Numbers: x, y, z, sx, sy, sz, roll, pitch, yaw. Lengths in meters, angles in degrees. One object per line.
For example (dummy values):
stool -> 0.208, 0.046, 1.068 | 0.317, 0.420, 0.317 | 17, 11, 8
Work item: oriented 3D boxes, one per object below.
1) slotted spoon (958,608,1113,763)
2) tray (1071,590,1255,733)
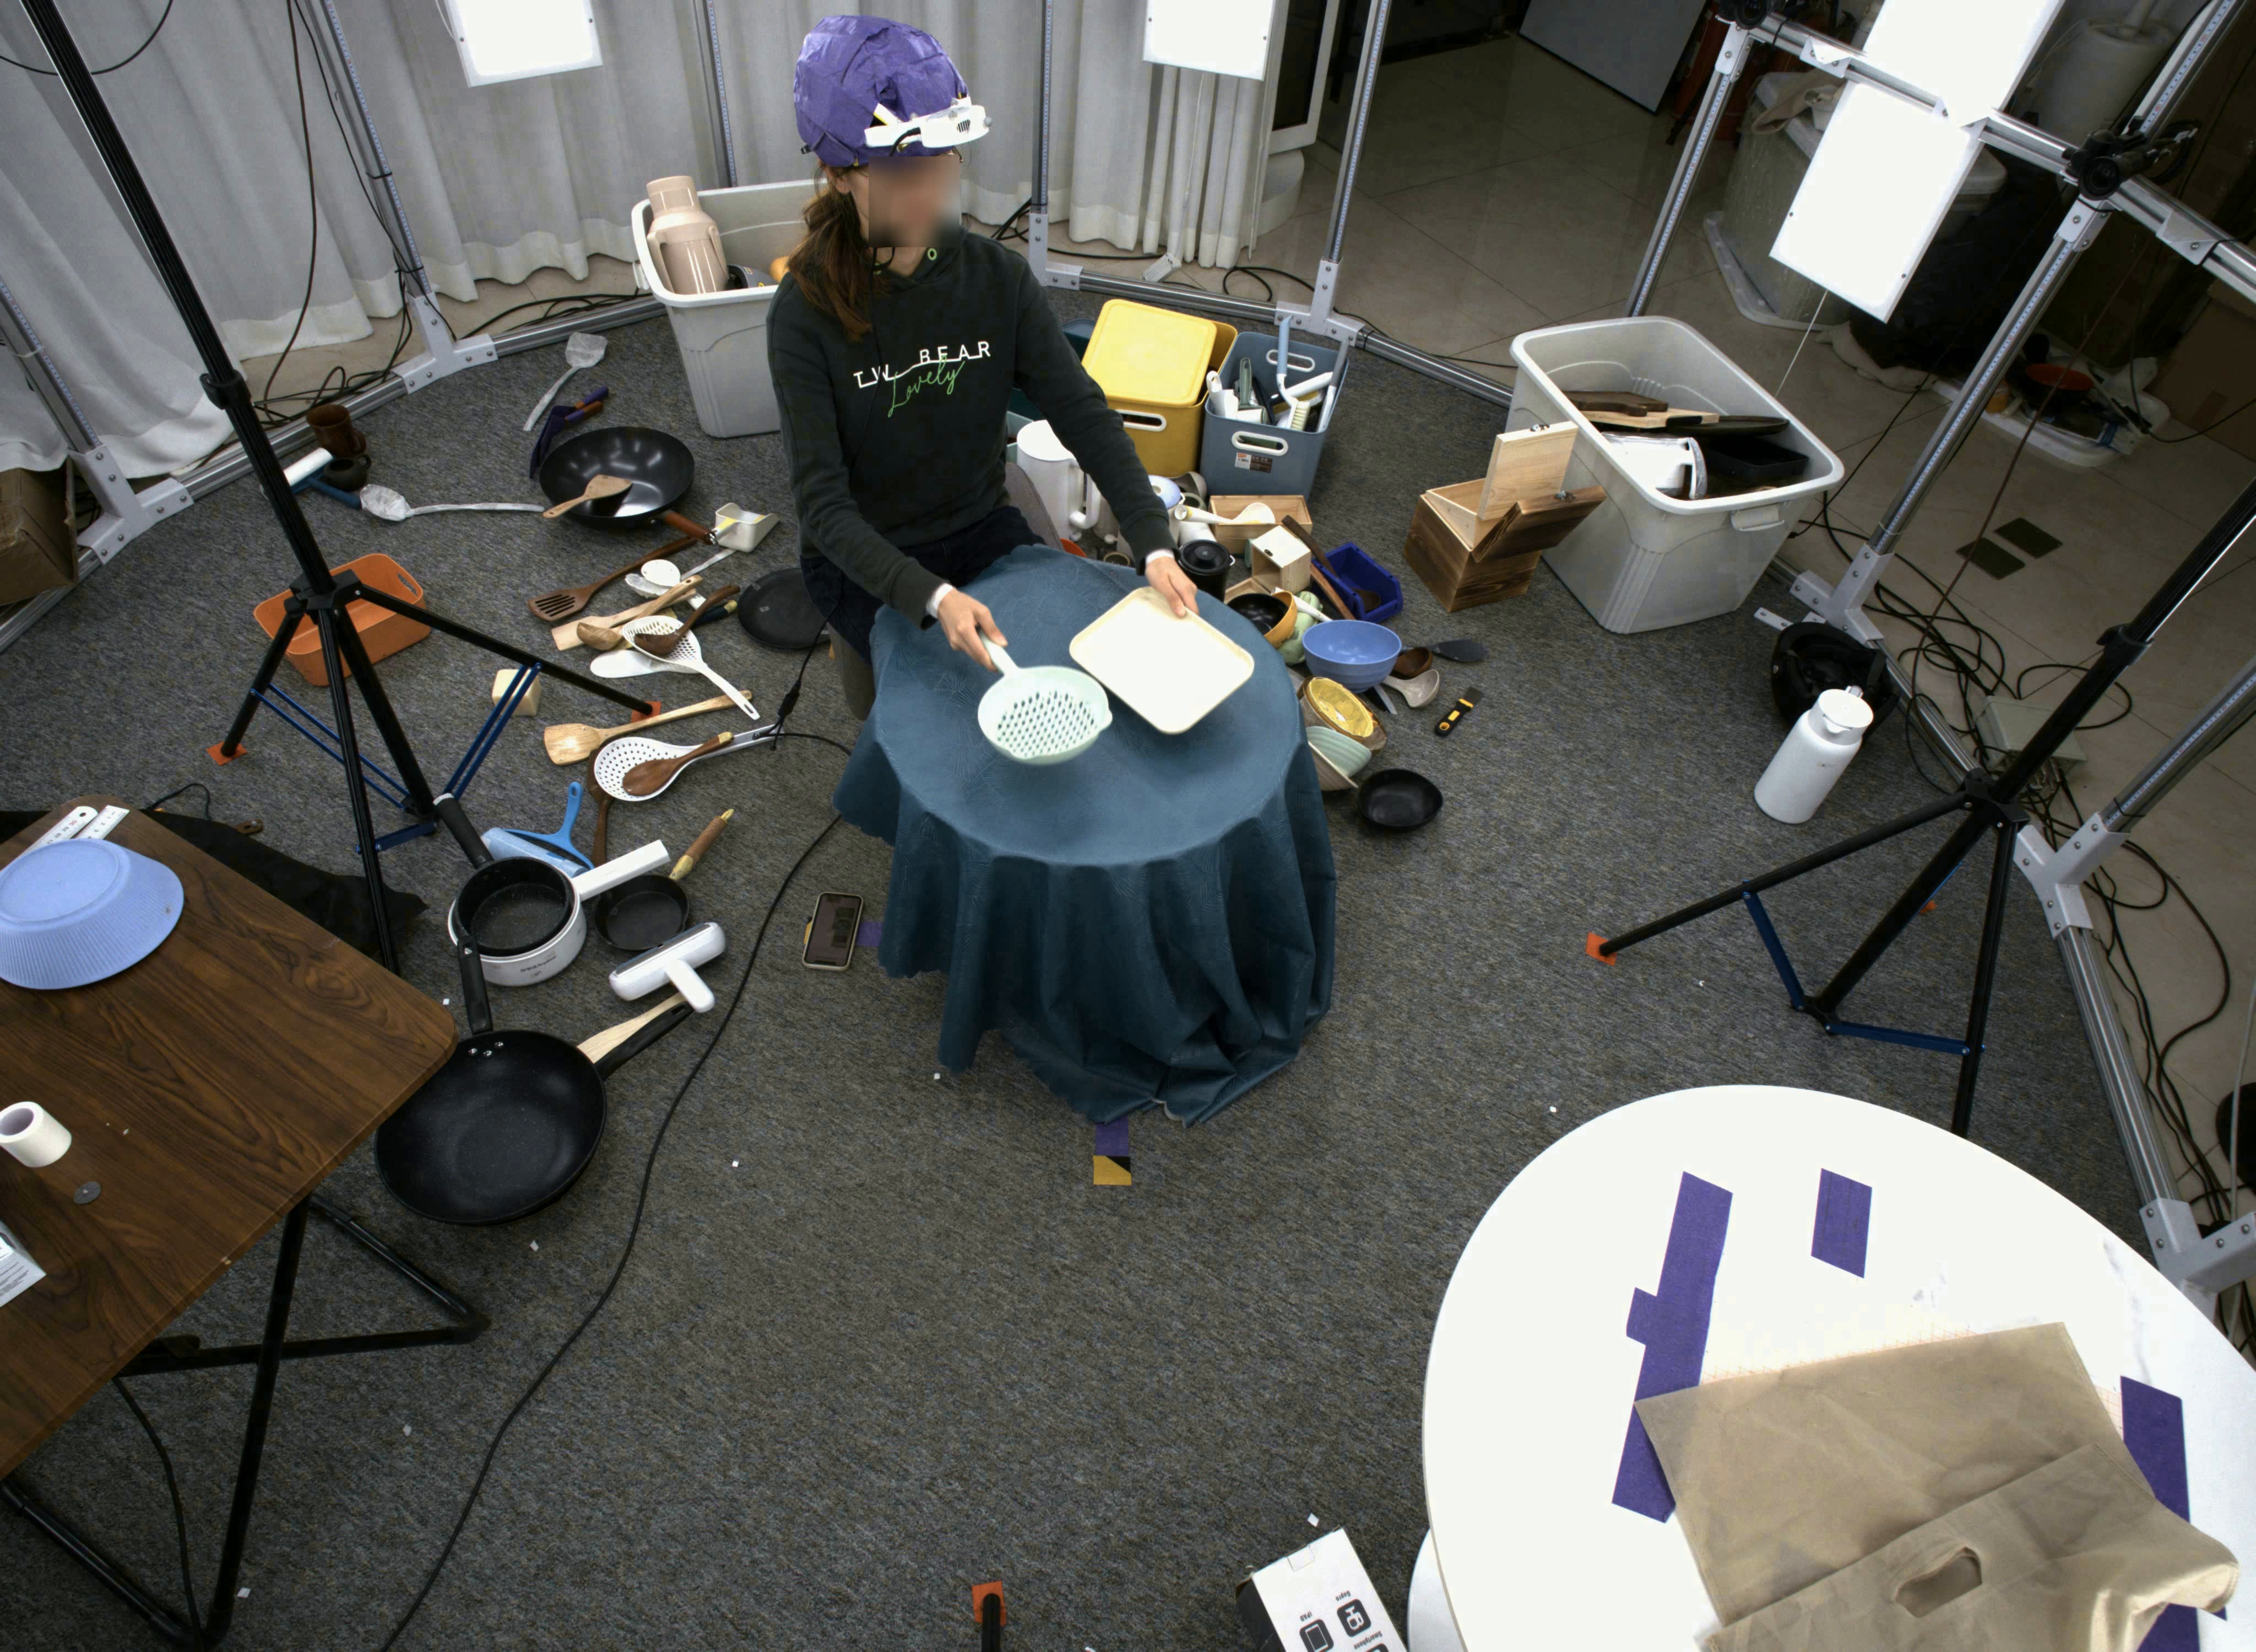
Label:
slotted spoon -> -0.155, -0.207, 1.741 | 0.170, 0.073, 0.366 | -23, 55, -17
tray -> 0.048, -0.232, 1.800 | 0.172, 0.017, 0.244 | -40, 57, -16
